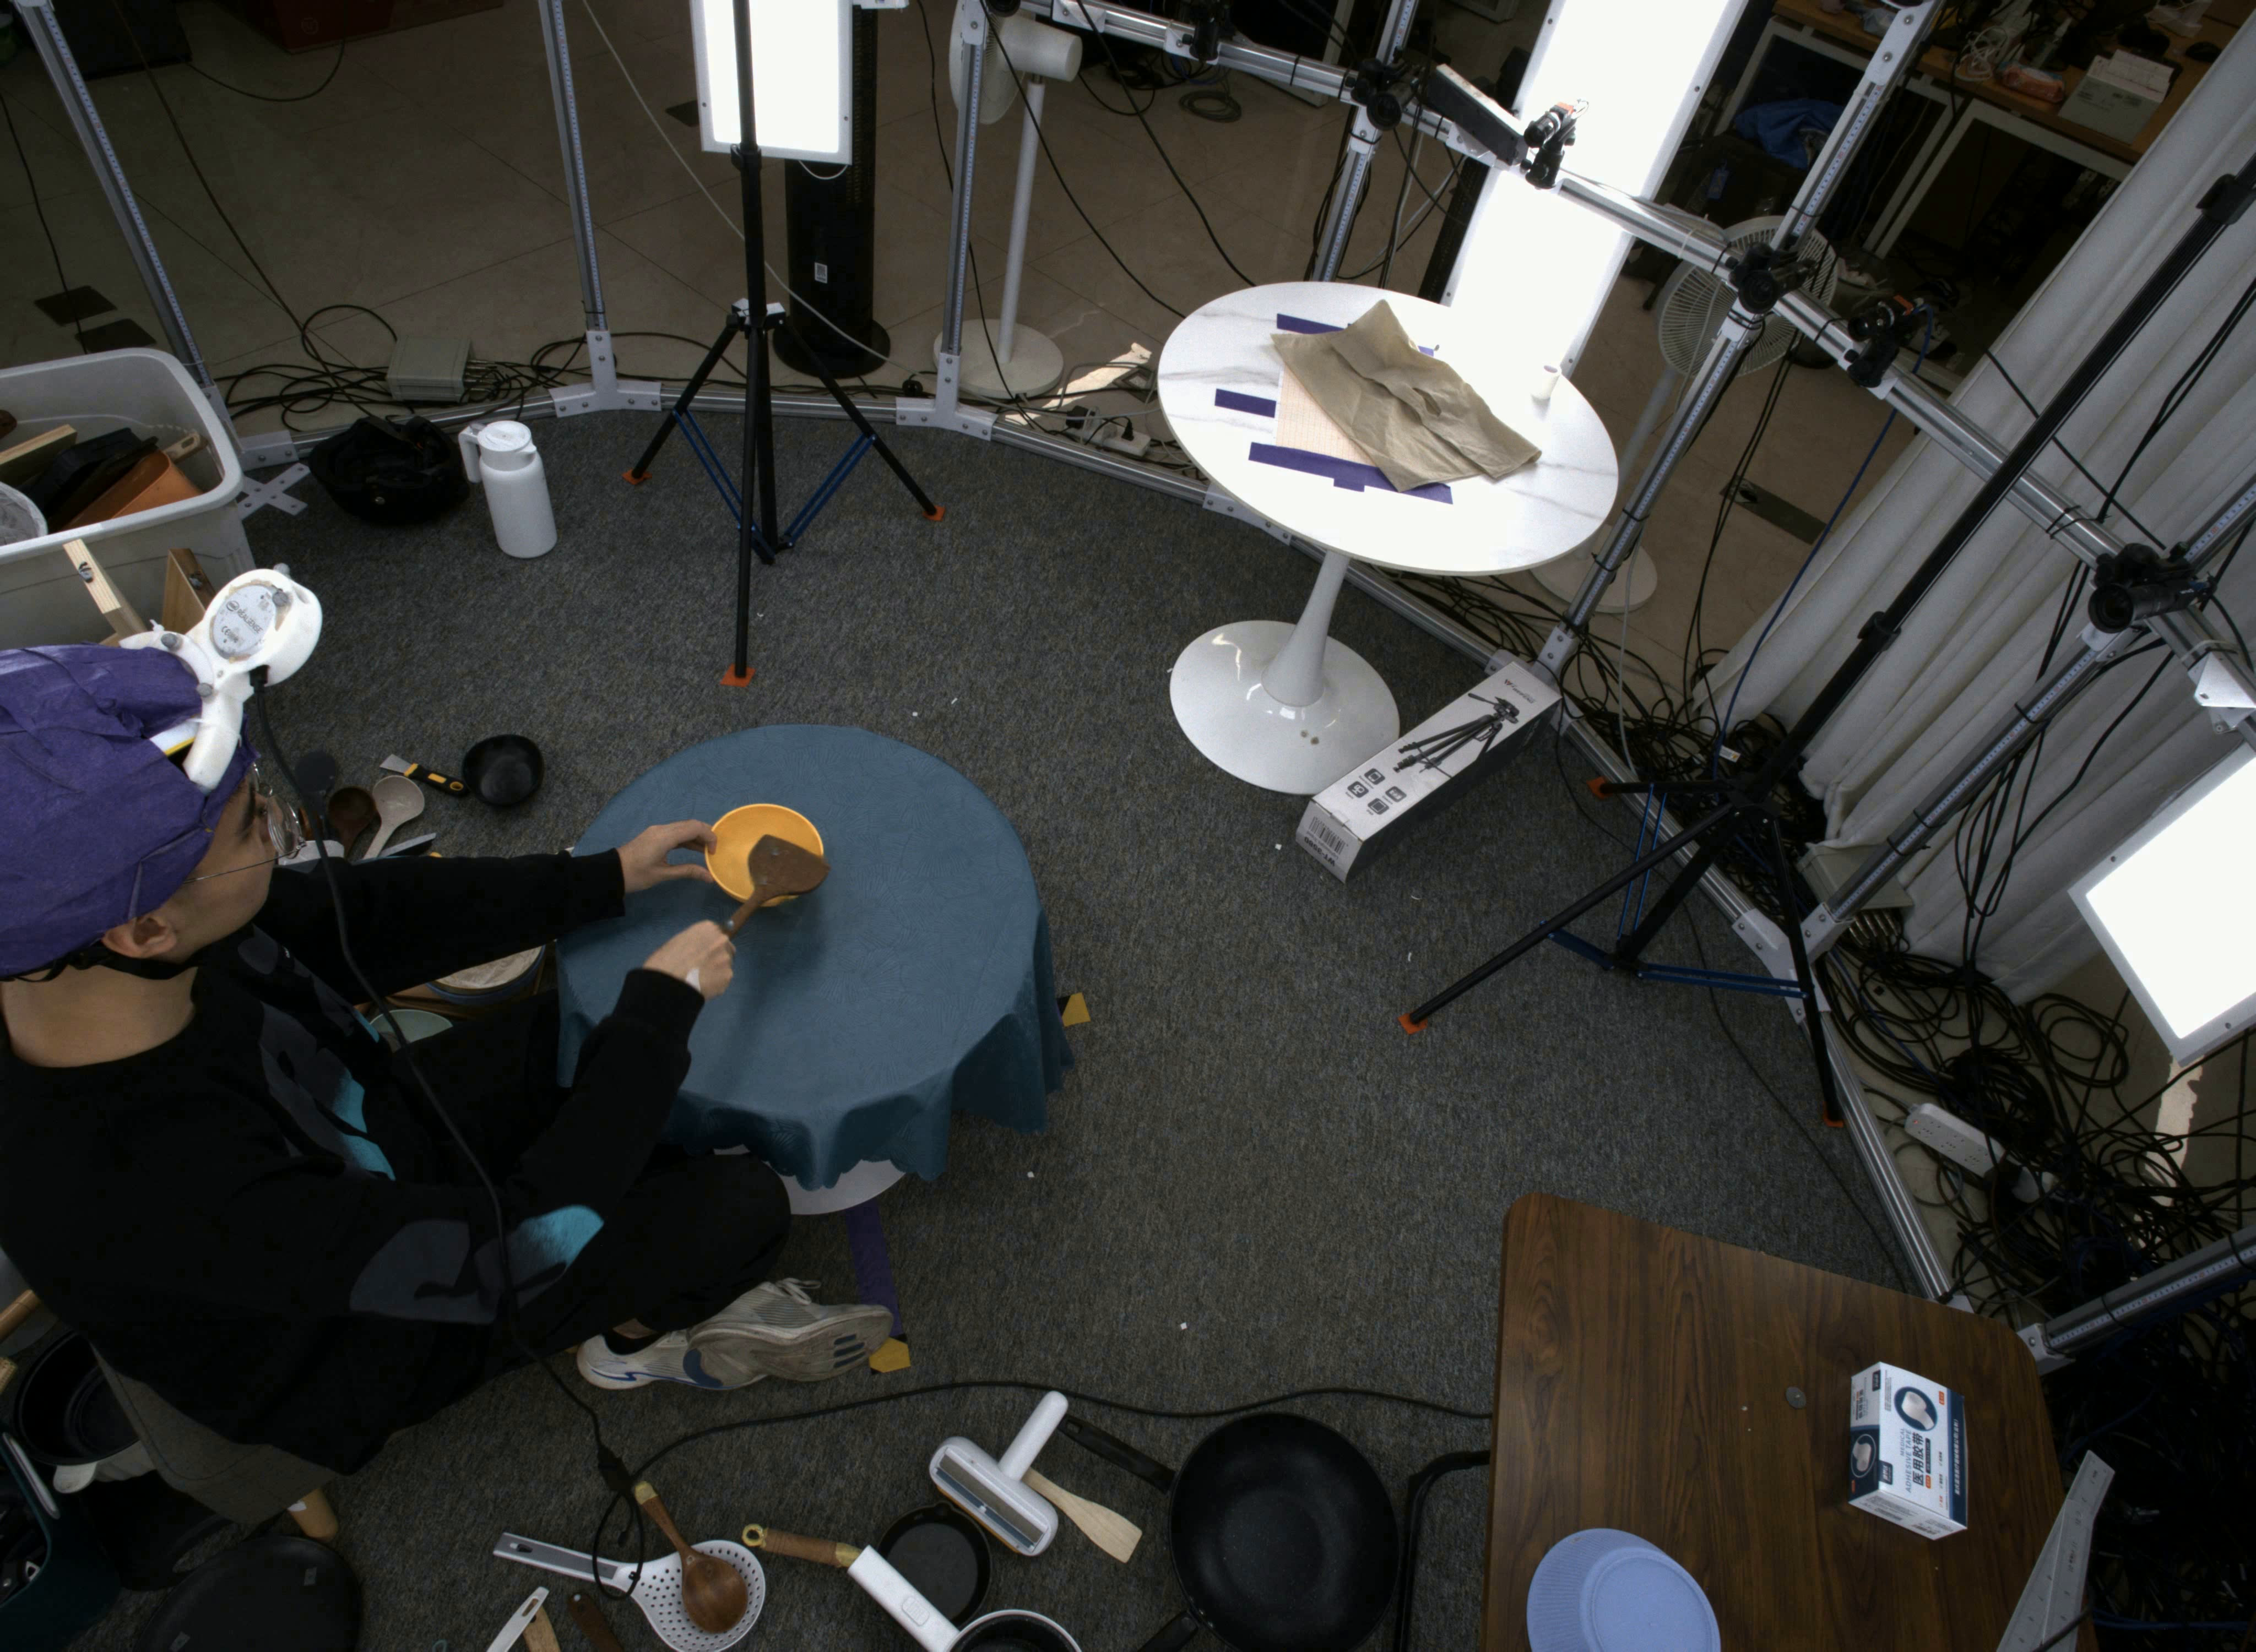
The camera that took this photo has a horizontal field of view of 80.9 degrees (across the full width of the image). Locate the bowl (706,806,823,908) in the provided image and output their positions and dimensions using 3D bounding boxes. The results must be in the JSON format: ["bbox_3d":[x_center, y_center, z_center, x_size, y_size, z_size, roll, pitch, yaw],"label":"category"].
[{"bbox_3d":[-0.458,0.049,1.635,0.145,0.061,0.143,9,54,-11],"label":"bowl"}]

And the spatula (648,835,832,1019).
[{"bbox_3d":[-0.433,0.104,1.429,0.096,0.016,0.381,28,25,-3],"label":"spatula"}]
